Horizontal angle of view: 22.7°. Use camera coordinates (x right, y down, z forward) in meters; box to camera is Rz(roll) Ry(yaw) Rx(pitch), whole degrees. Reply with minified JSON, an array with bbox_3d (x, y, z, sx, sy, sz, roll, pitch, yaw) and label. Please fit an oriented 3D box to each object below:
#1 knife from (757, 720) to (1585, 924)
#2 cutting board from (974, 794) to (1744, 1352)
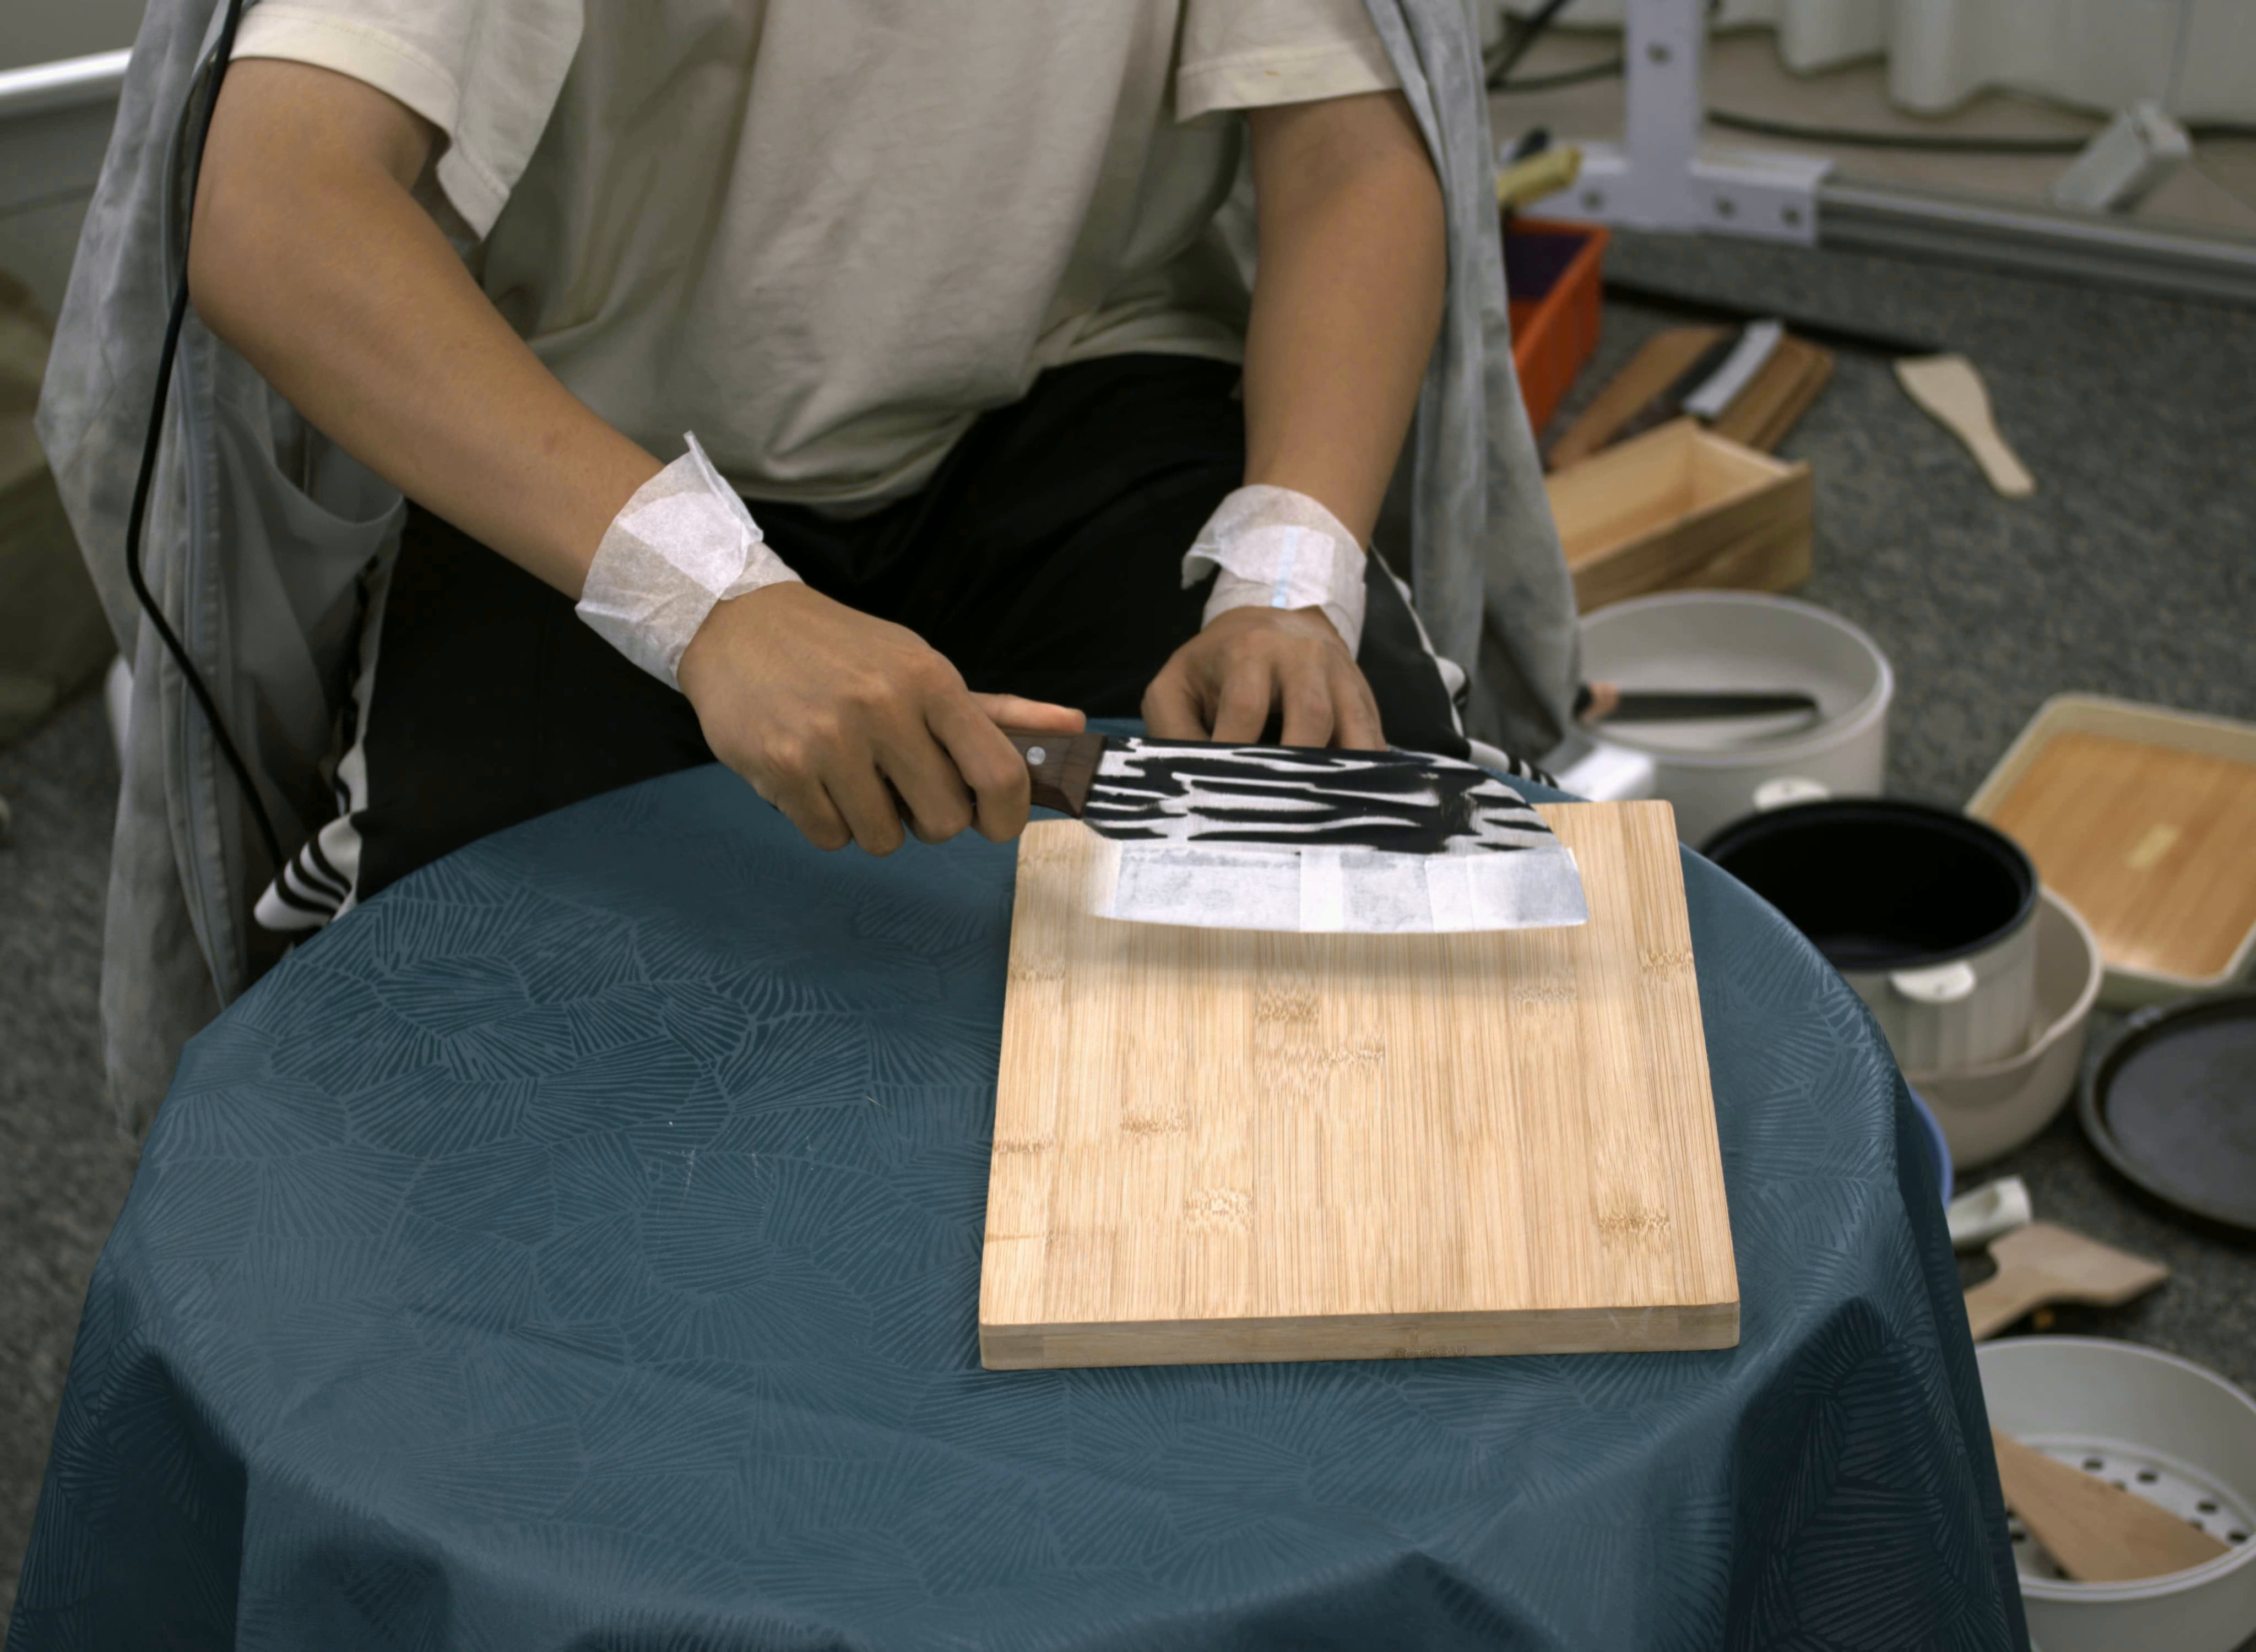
[{"bbox_3d":[0.012,-0.001,1.957,0.297,0.069,0.024,4,-18,10],"label":"knife"},{"bbox_3d":[0.077,0.080,1.916,0.249,0.023,0.354,-2,27,1],"label":"cutting board"}]
